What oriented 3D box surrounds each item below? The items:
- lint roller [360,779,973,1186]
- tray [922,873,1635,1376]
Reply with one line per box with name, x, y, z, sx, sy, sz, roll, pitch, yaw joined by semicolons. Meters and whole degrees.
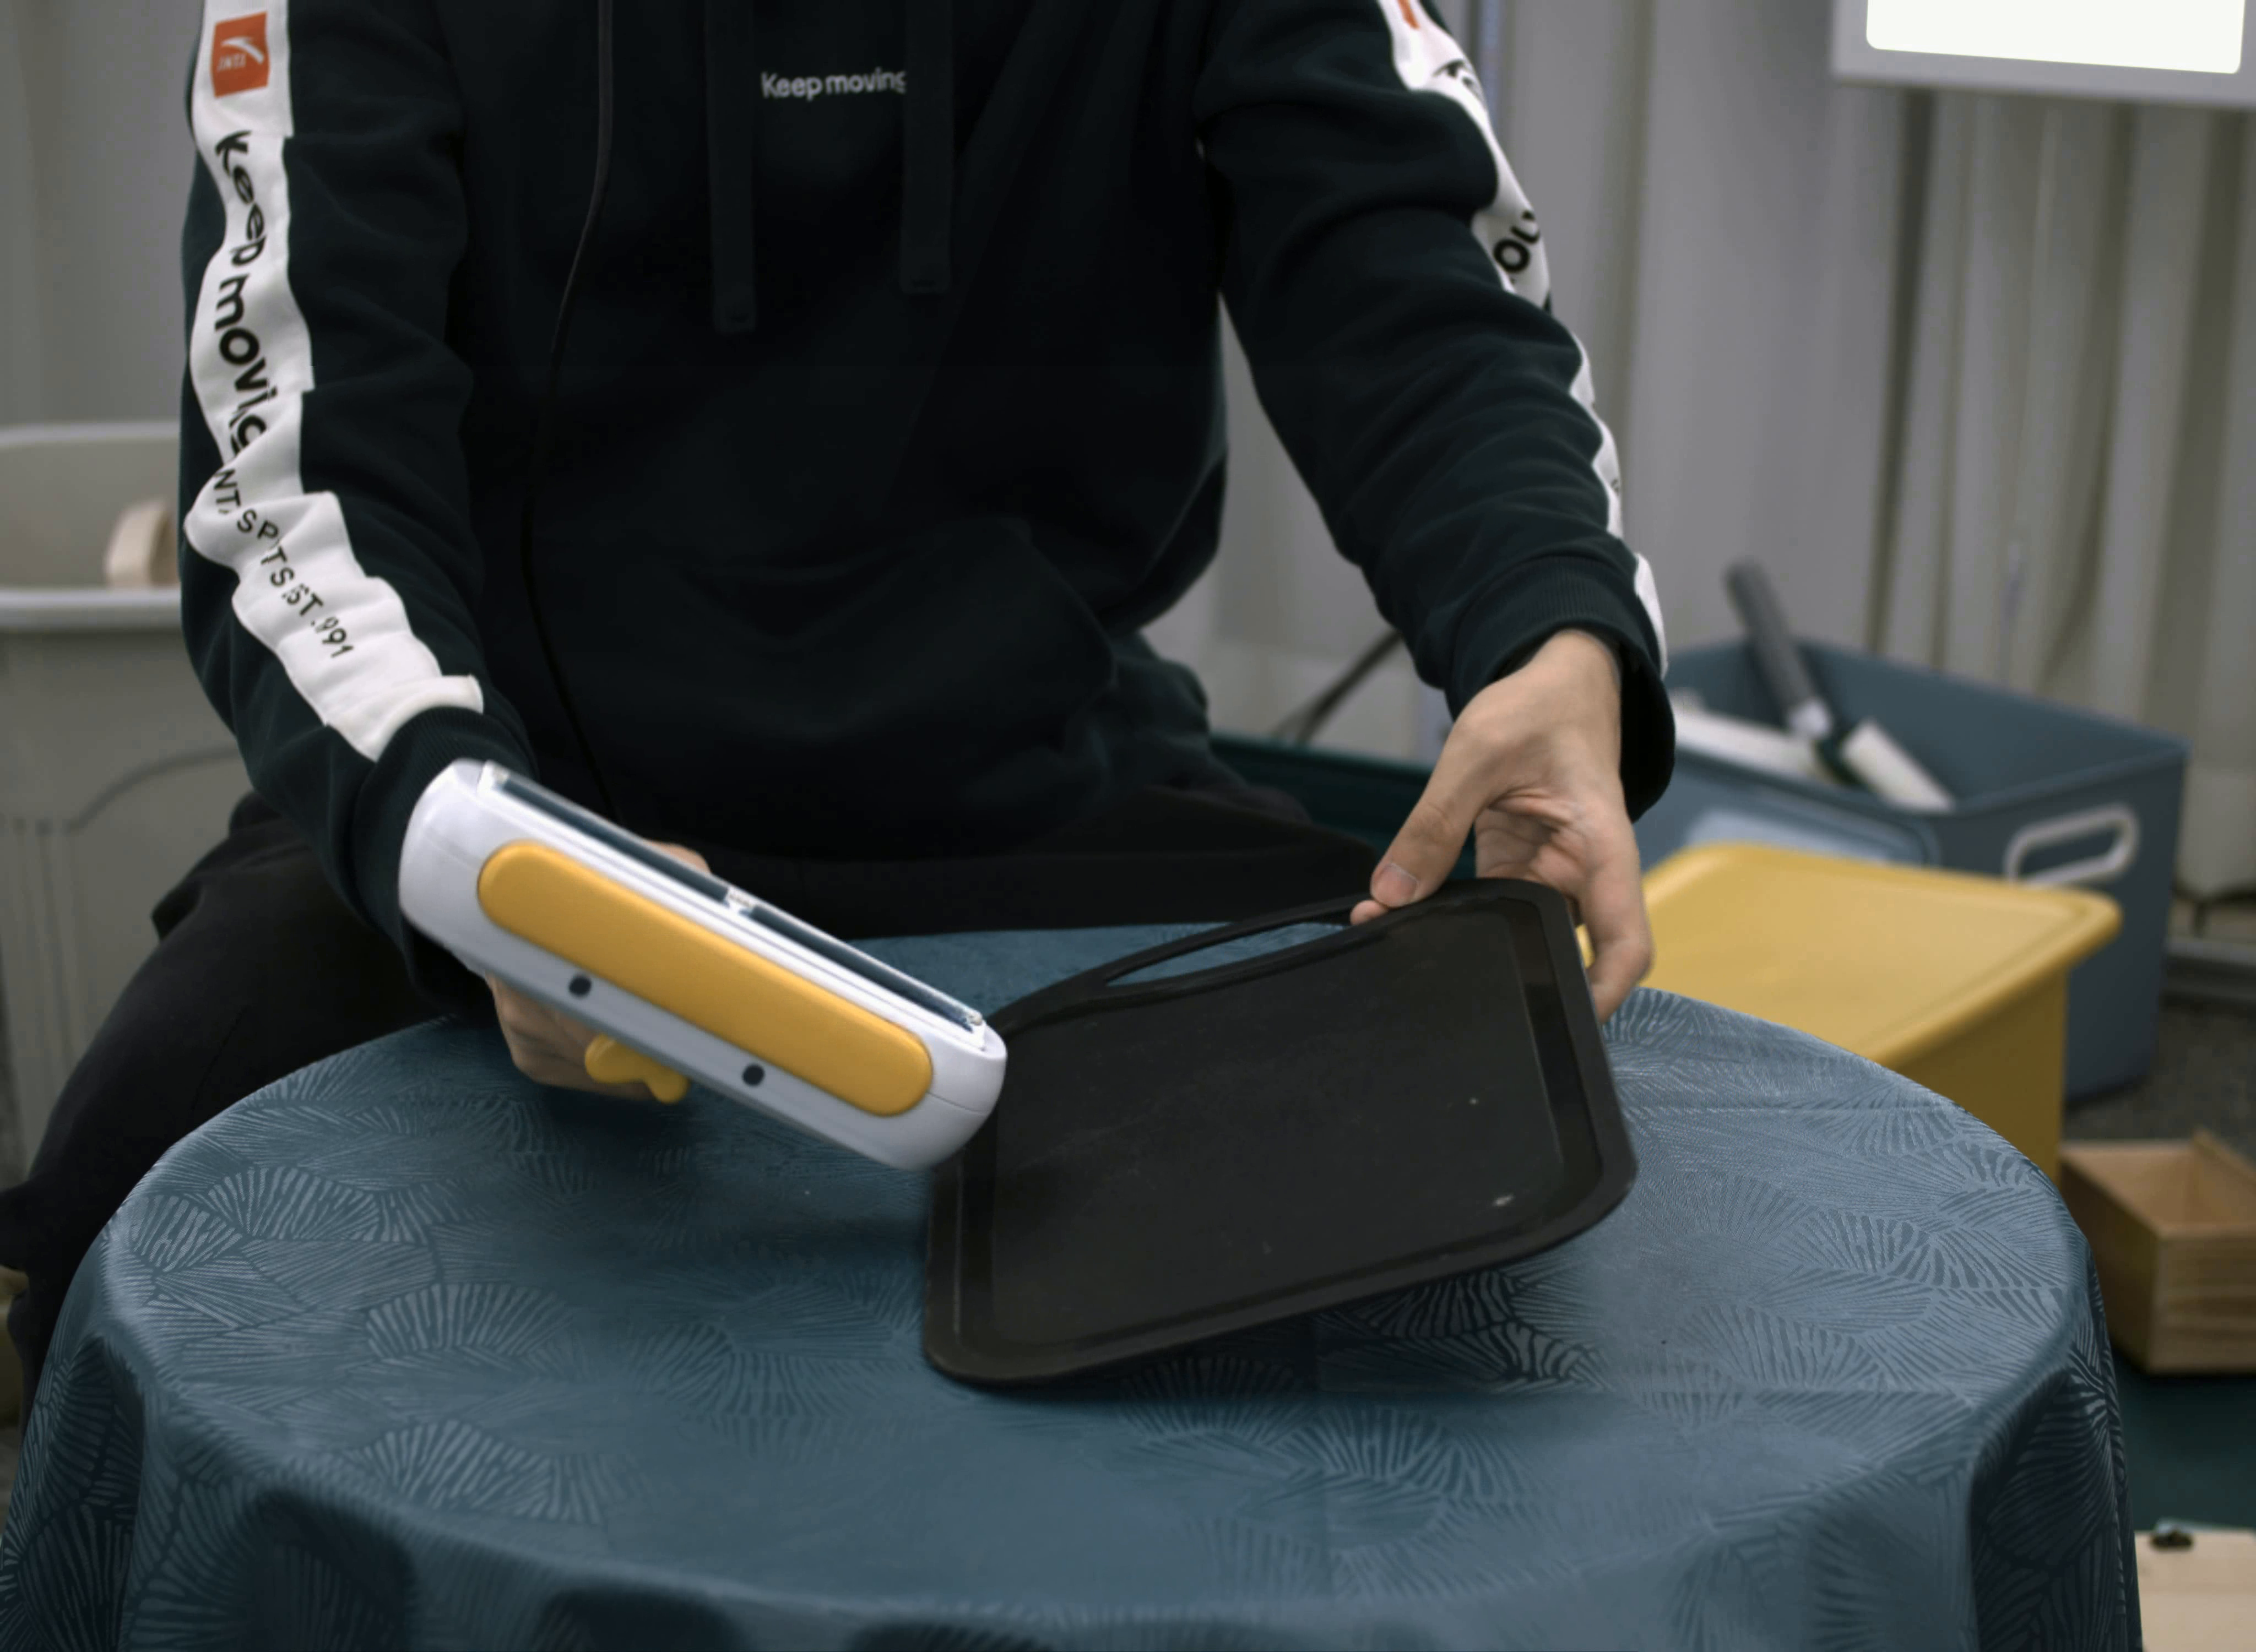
lint roller;-0.147;0.062;1.608;0.193;0.074;0.192;23;-13;-4
tray;0.040;0.081;1.593;0.210;0.010;0.323;-15;18;4
